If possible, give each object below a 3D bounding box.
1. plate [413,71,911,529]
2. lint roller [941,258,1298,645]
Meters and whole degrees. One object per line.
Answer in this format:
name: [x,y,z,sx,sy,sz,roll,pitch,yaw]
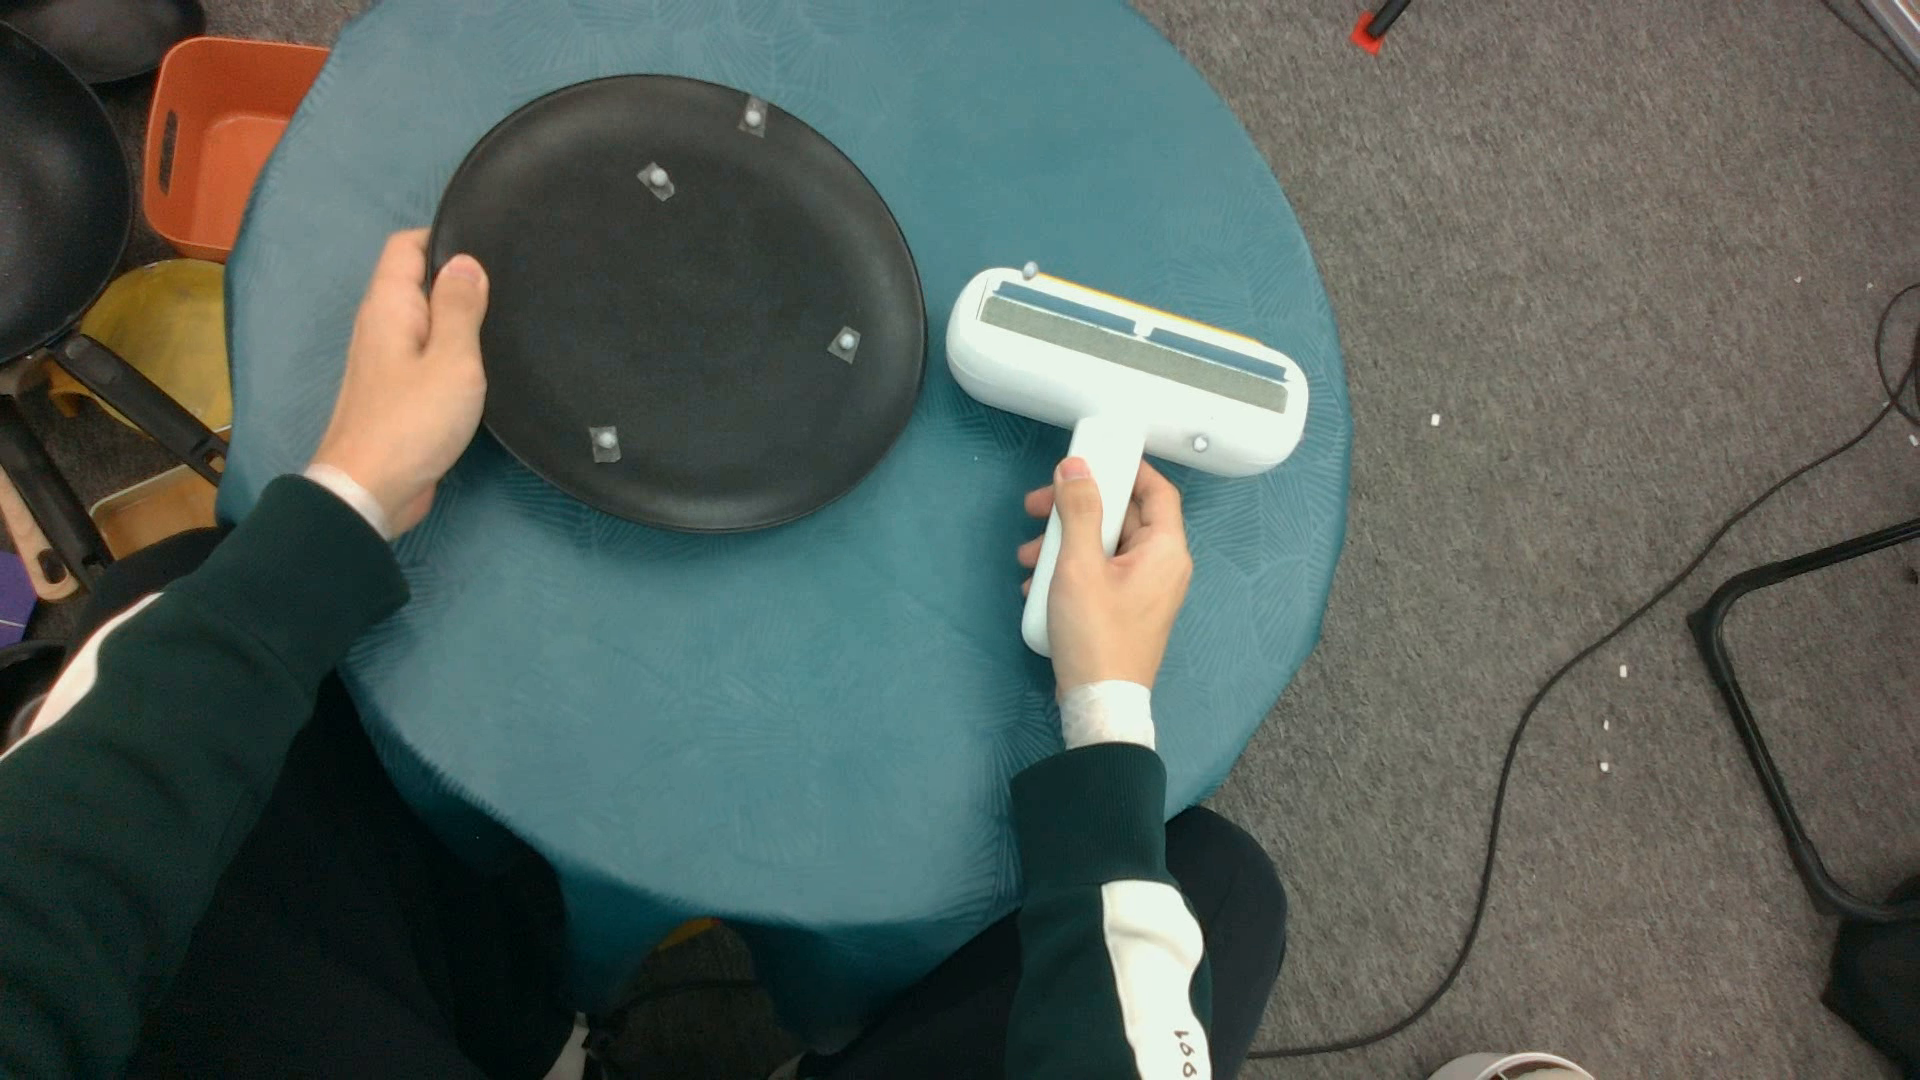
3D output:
plate: [-0.141,-0.119,0.684,0.245,0.023,0.245,7,72,-22]
lint roller: [0.063,-0.037,0.729,0.193,0.074,0.192,21,81,-3]
